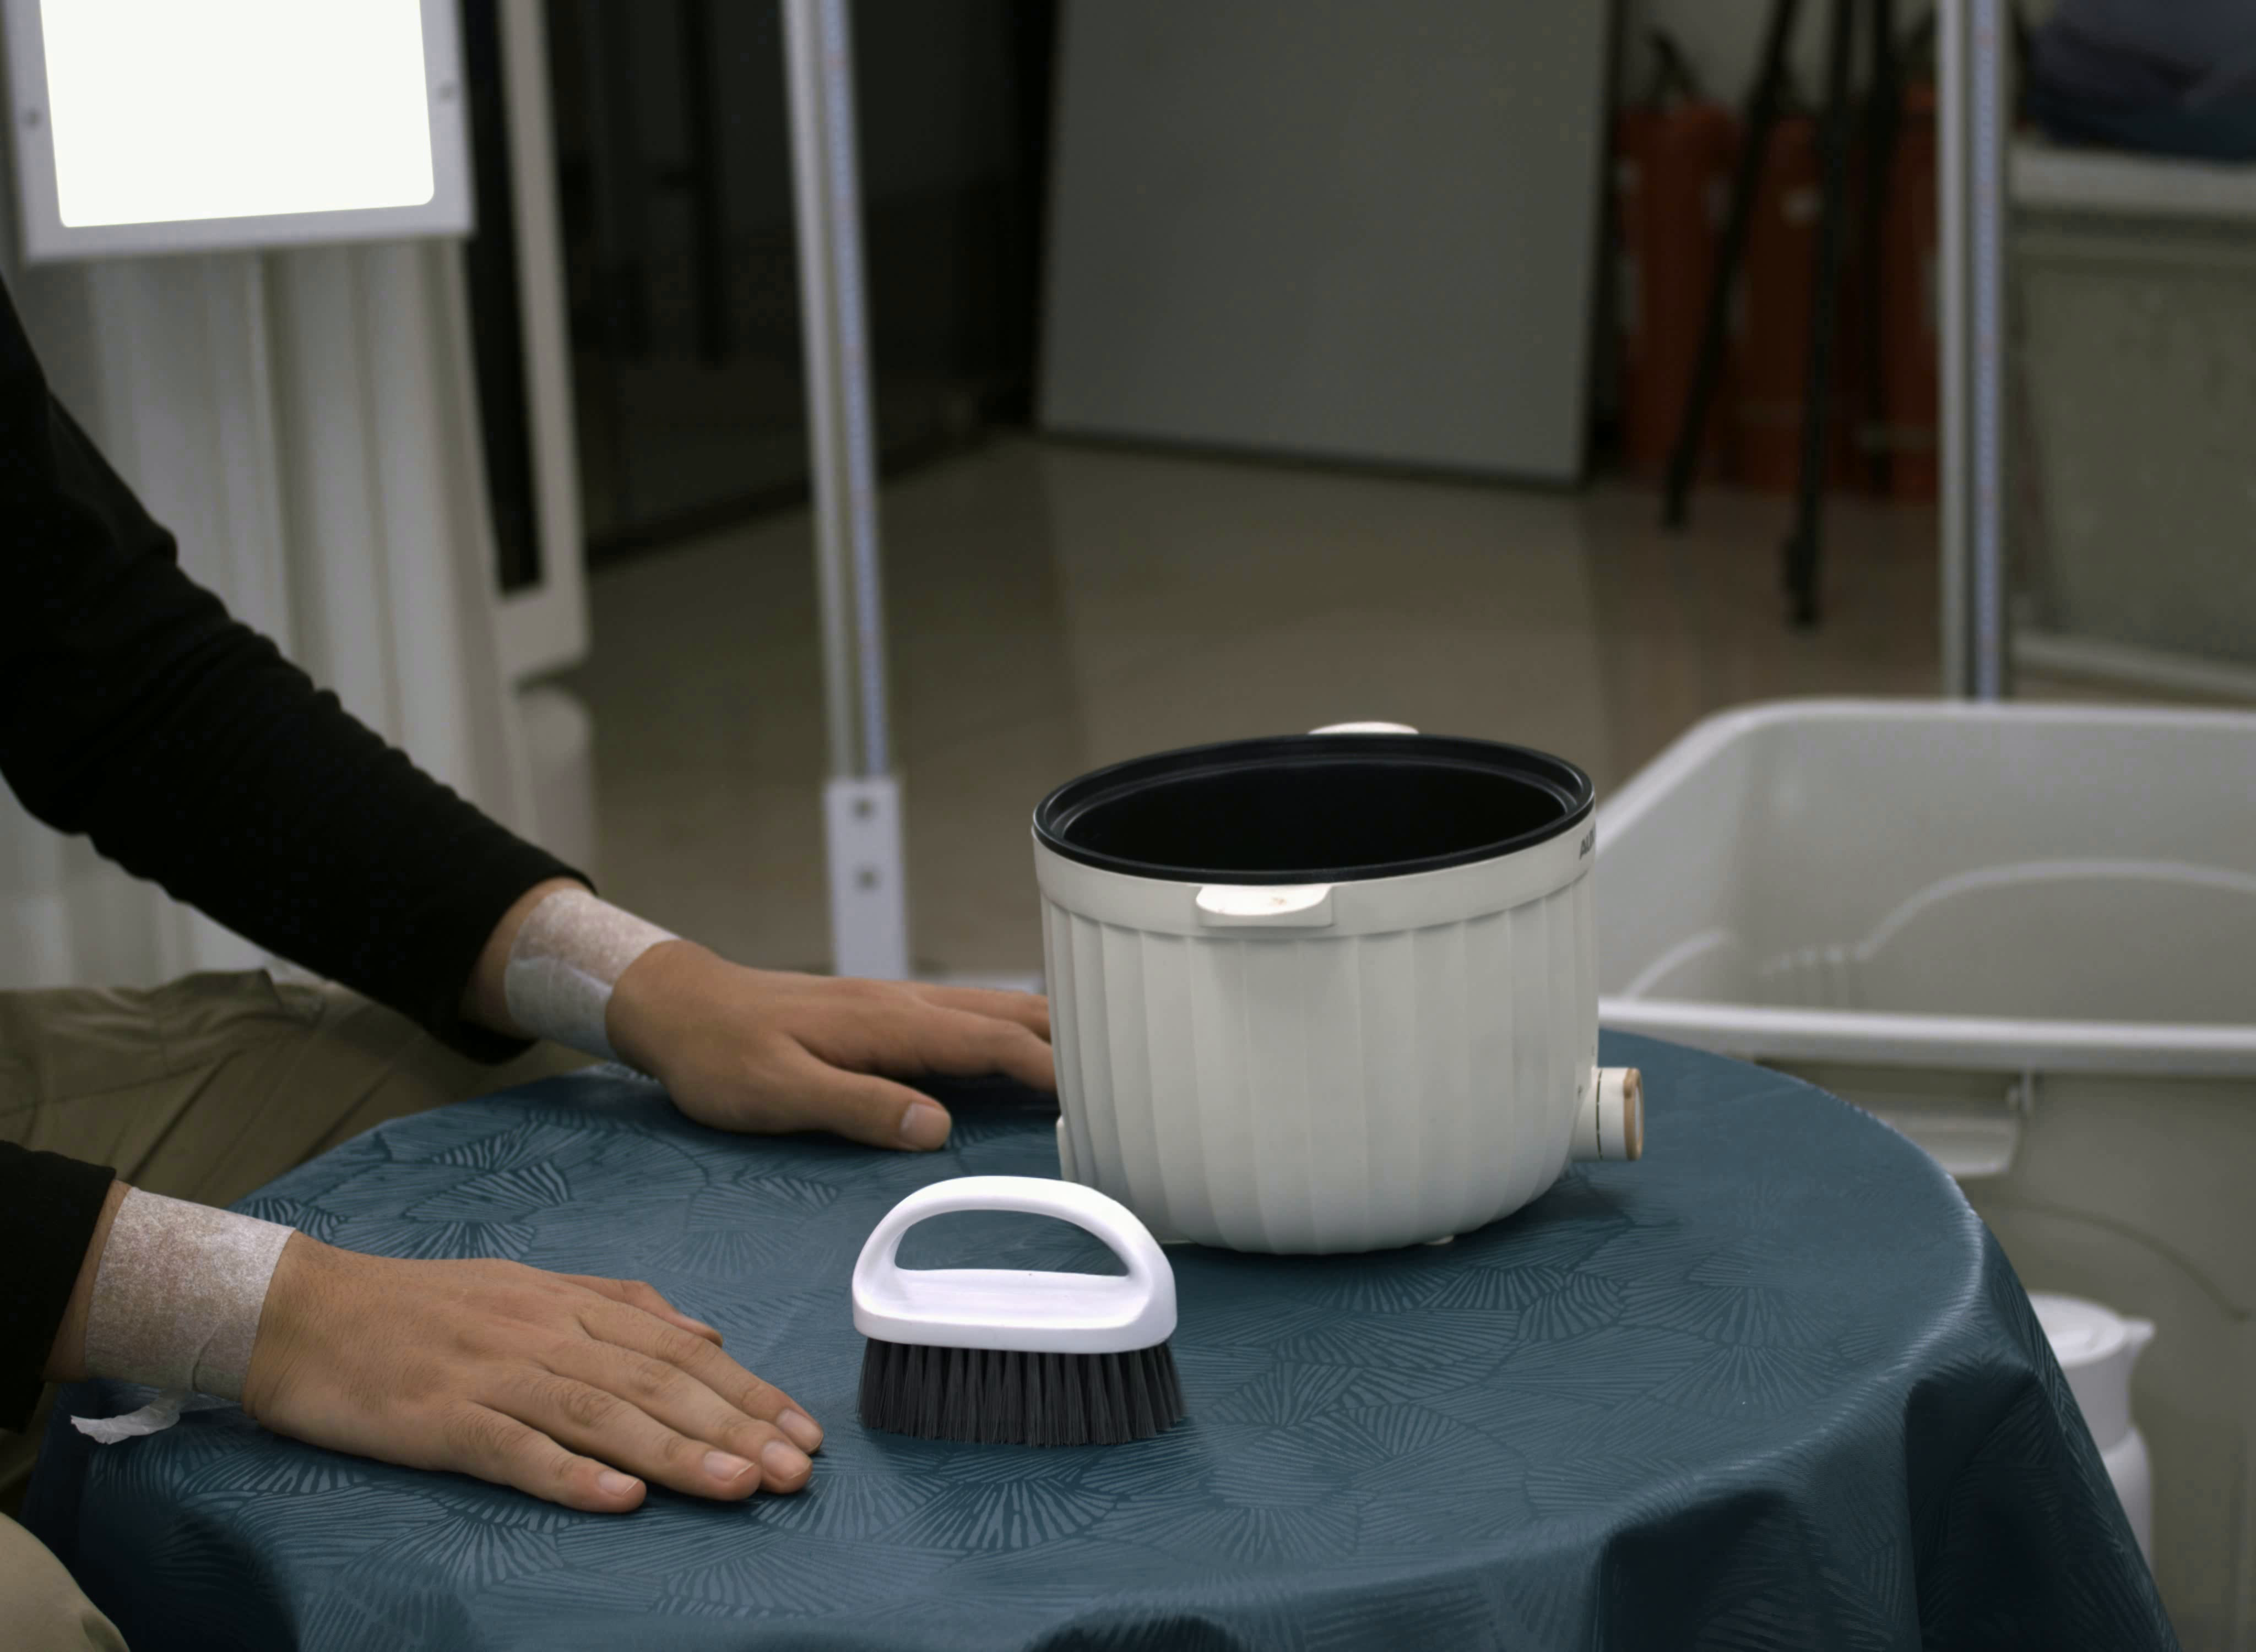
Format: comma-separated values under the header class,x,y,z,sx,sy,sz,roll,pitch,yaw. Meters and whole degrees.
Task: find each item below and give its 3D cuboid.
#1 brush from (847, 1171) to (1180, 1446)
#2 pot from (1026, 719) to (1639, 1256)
class,x,y,z,sx,sy,sz,roll,pitch,yaw
brush,-0.034,0.136,1.563,0.099,0.073,0.050,1,14,20
pot,0.067,0.054,1.731,0.189,0.144,0.239,-4,14,12
